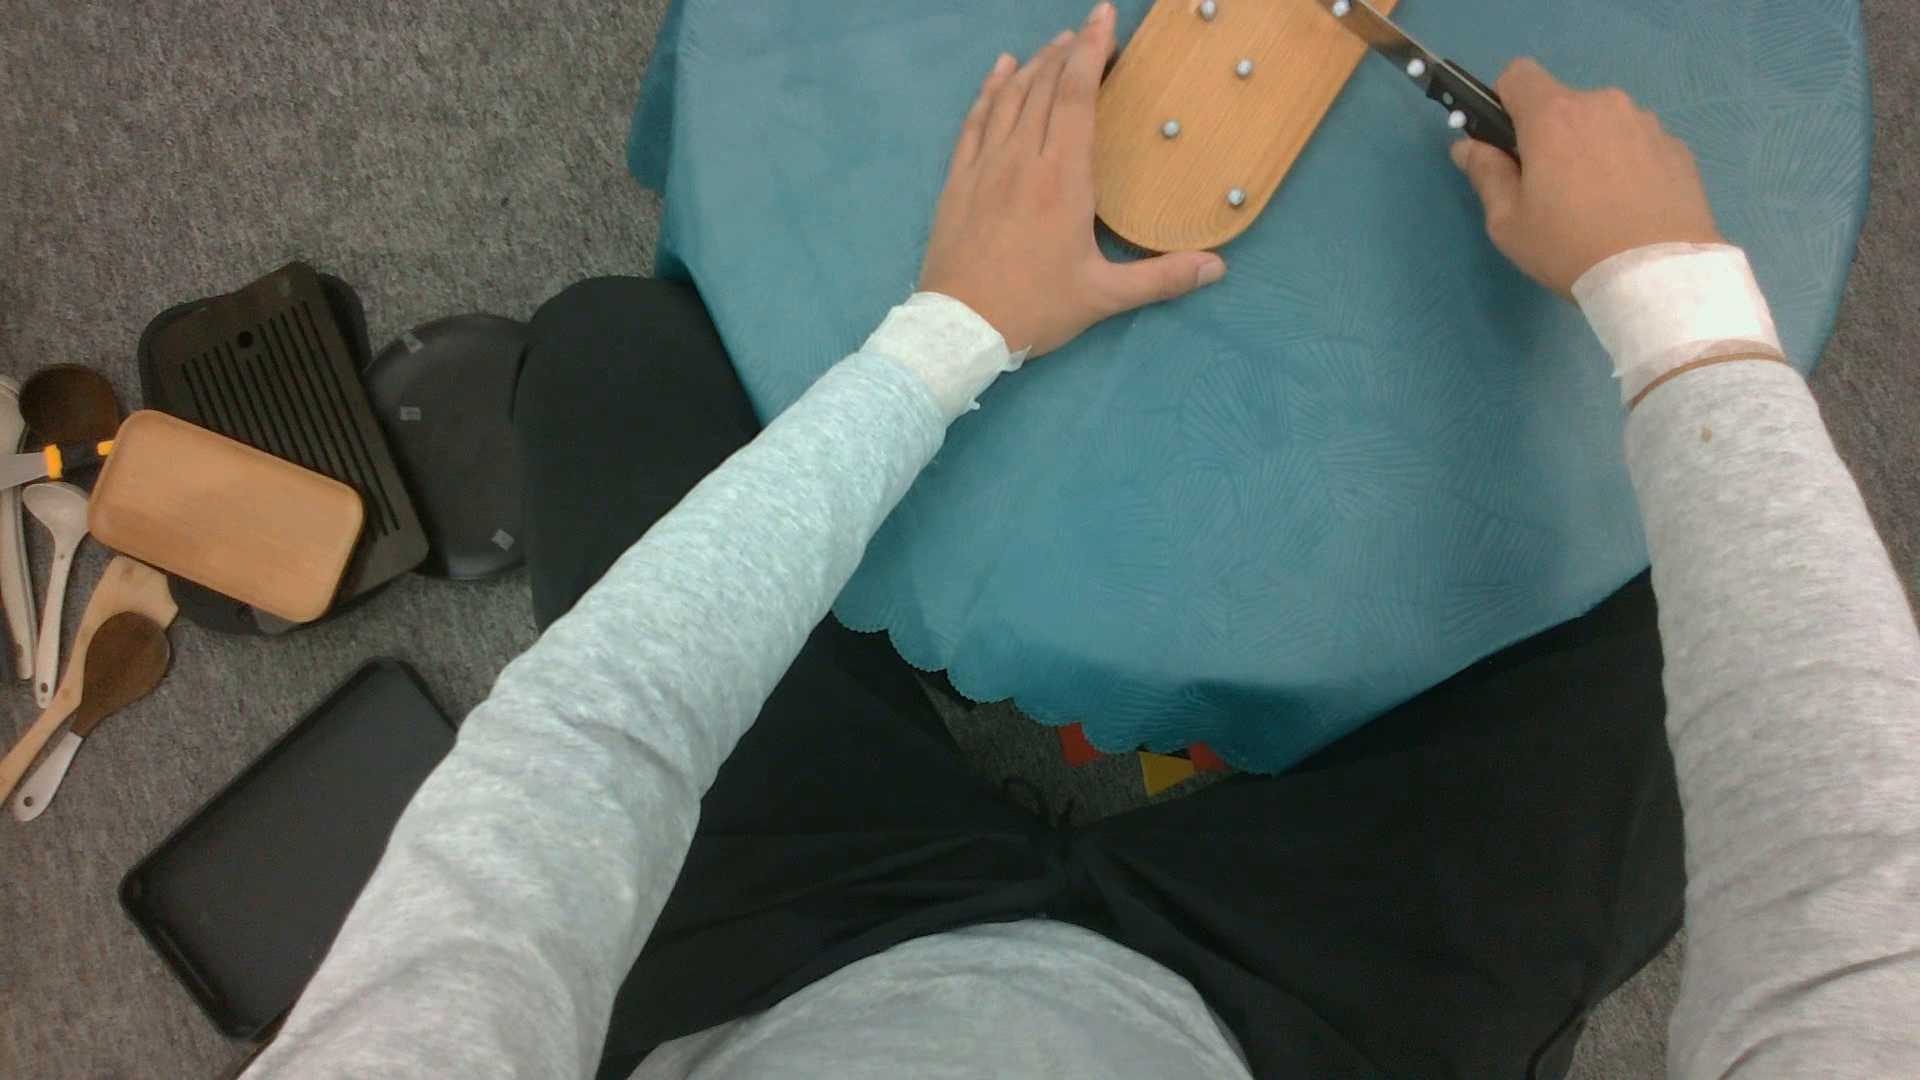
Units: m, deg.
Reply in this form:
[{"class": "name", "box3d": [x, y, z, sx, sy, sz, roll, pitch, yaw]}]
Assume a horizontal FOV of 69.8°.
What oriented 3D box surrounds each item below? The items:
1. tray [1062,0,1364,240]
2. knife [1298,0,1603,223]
[{"class": "tray", "box3d": [0.135, -0.255, 0.693, 0.101, 0.020, 0.231, 31, 84, 2]}, {"class": "knife", "box3d": [0.212, -0.231, 0.660, 0.016, 0.024, 0.238, -41, 71, -8]}]
